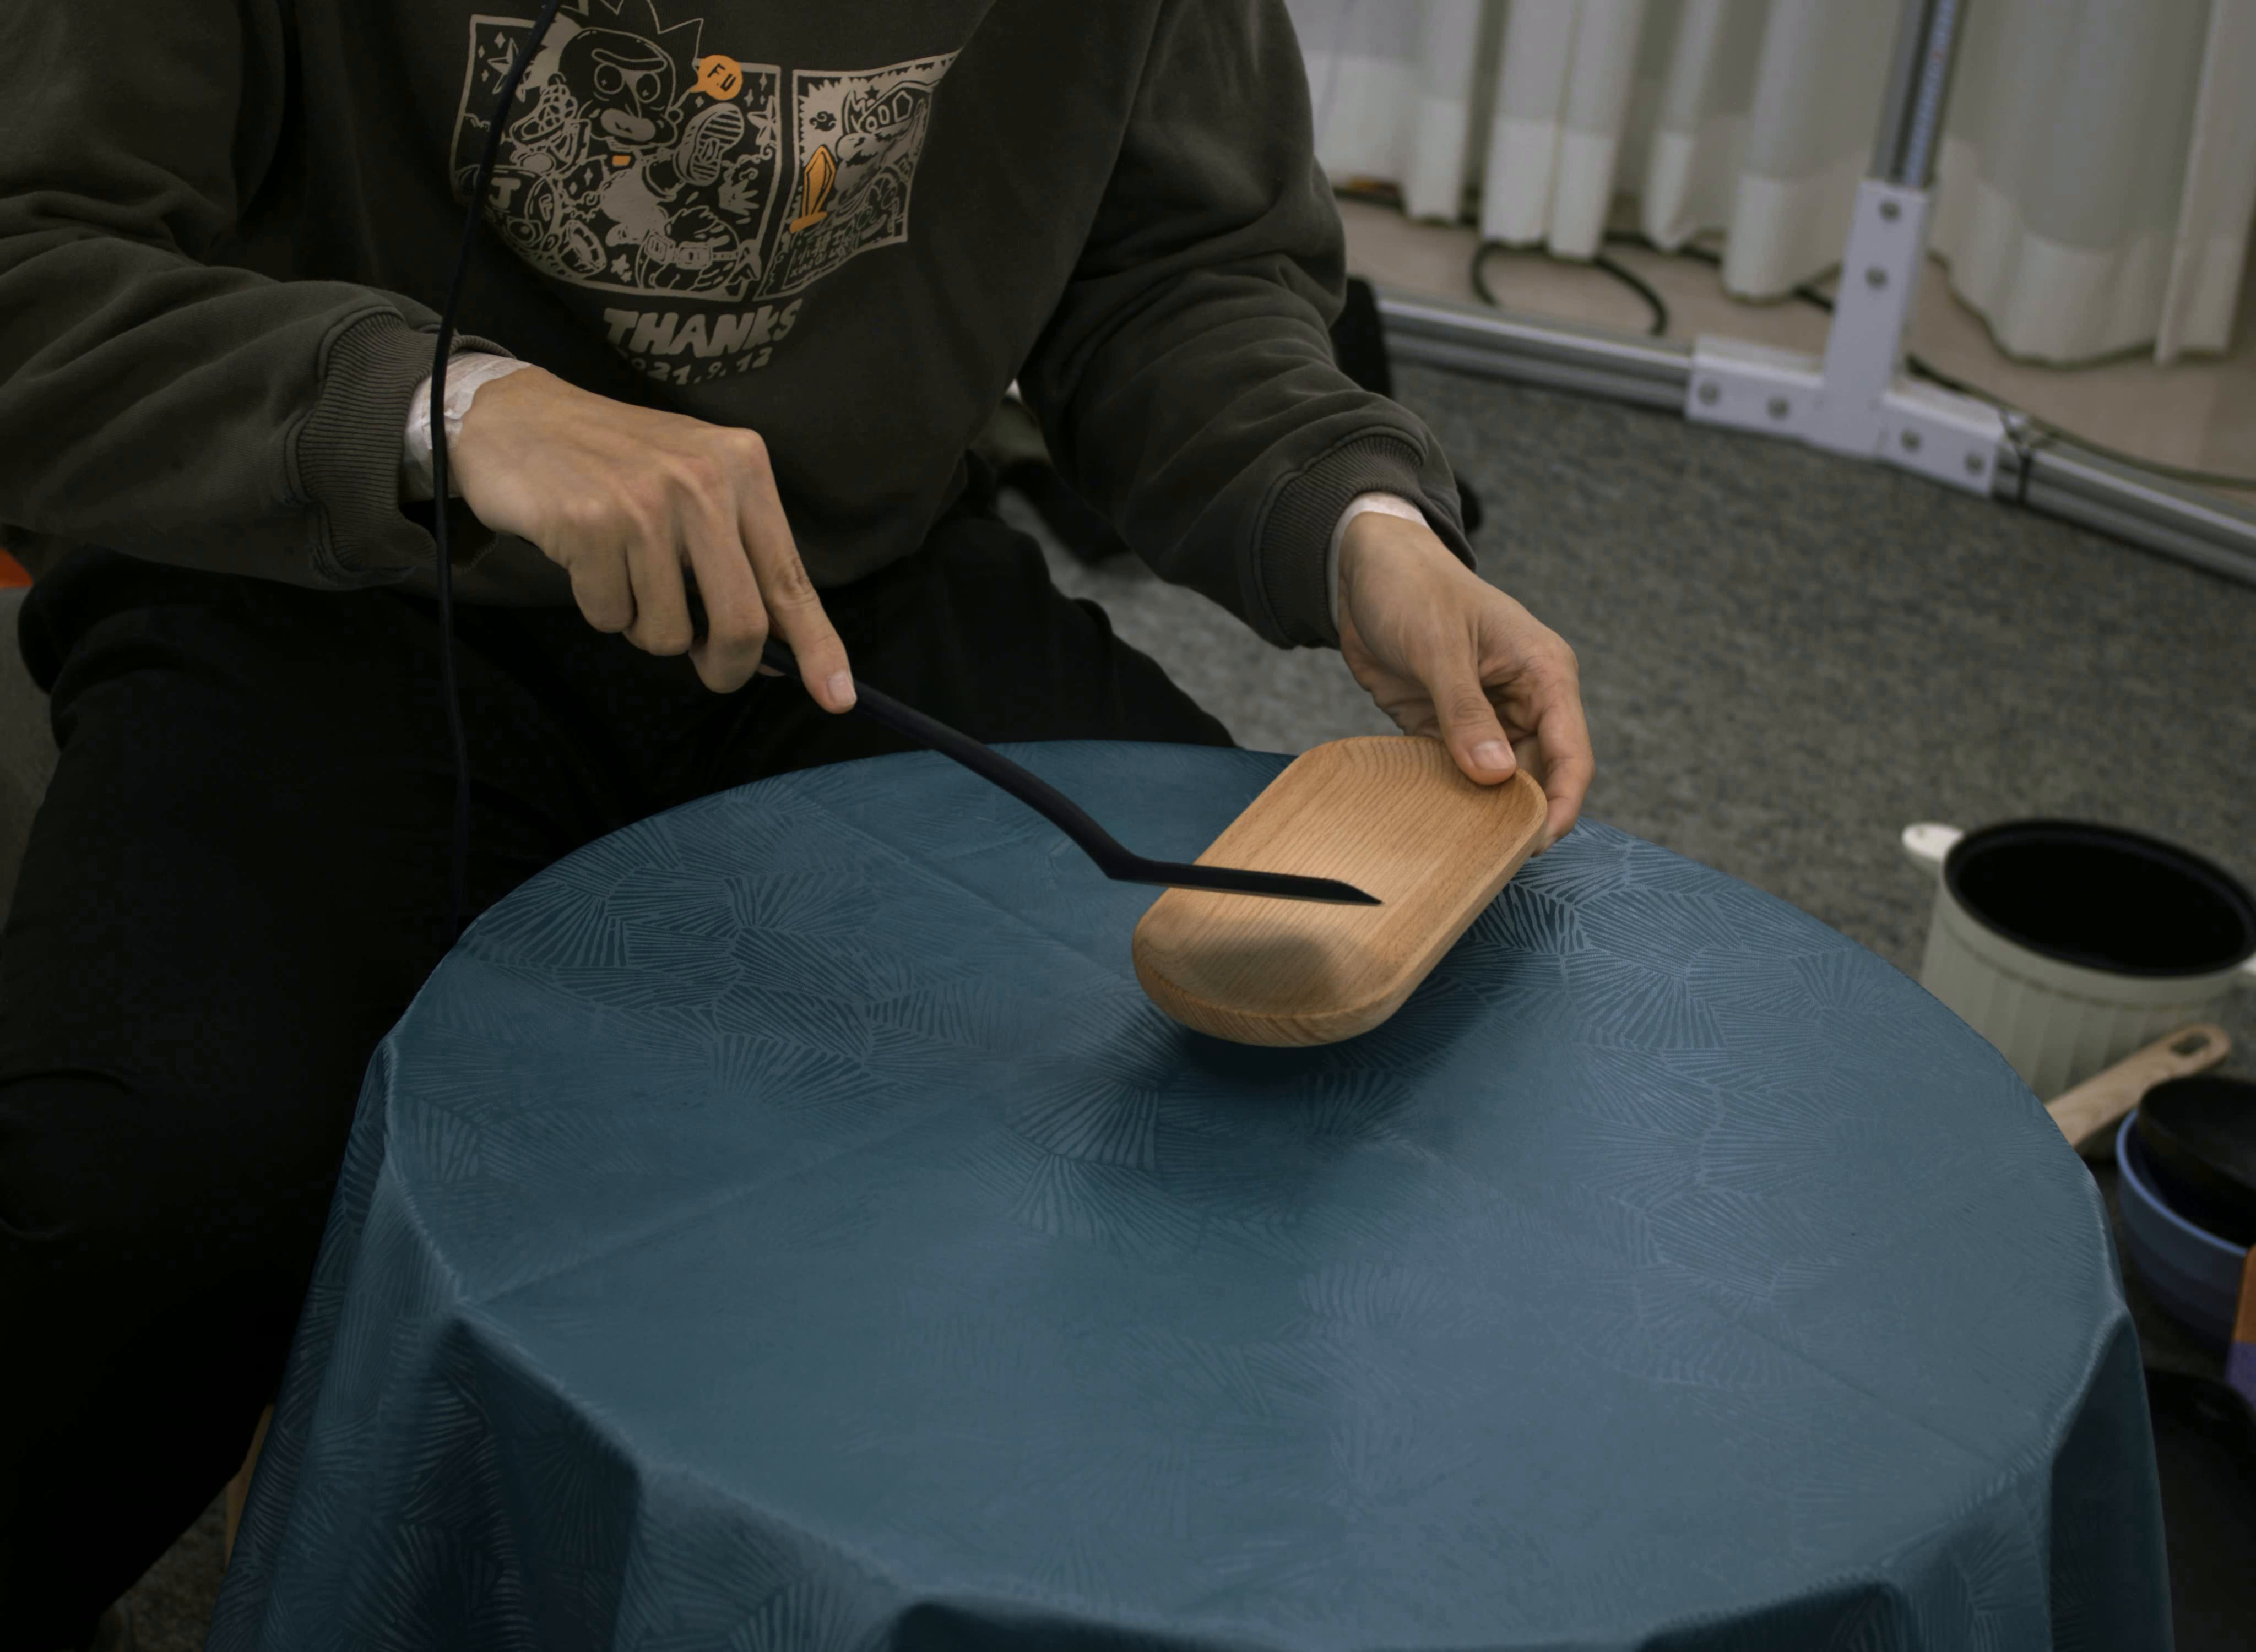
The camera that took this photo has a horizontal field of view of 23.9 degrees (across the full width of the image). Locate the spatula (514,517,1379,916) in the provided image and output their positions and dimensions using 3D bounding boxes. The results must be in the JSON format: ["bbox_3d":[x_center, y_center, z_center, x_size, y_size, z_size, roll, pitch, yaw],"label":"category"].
[{"bbox_3d":[-0.064,-0.036,1.847,0.325,0.040,0.100,30,-7,-5],"label":"spatula"}]

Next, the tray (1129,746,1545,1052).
[{"bbox_3d":[0.078,0.025,1.941,0.102,0.020,0.231,13,30,21],"label":"tray"}]
